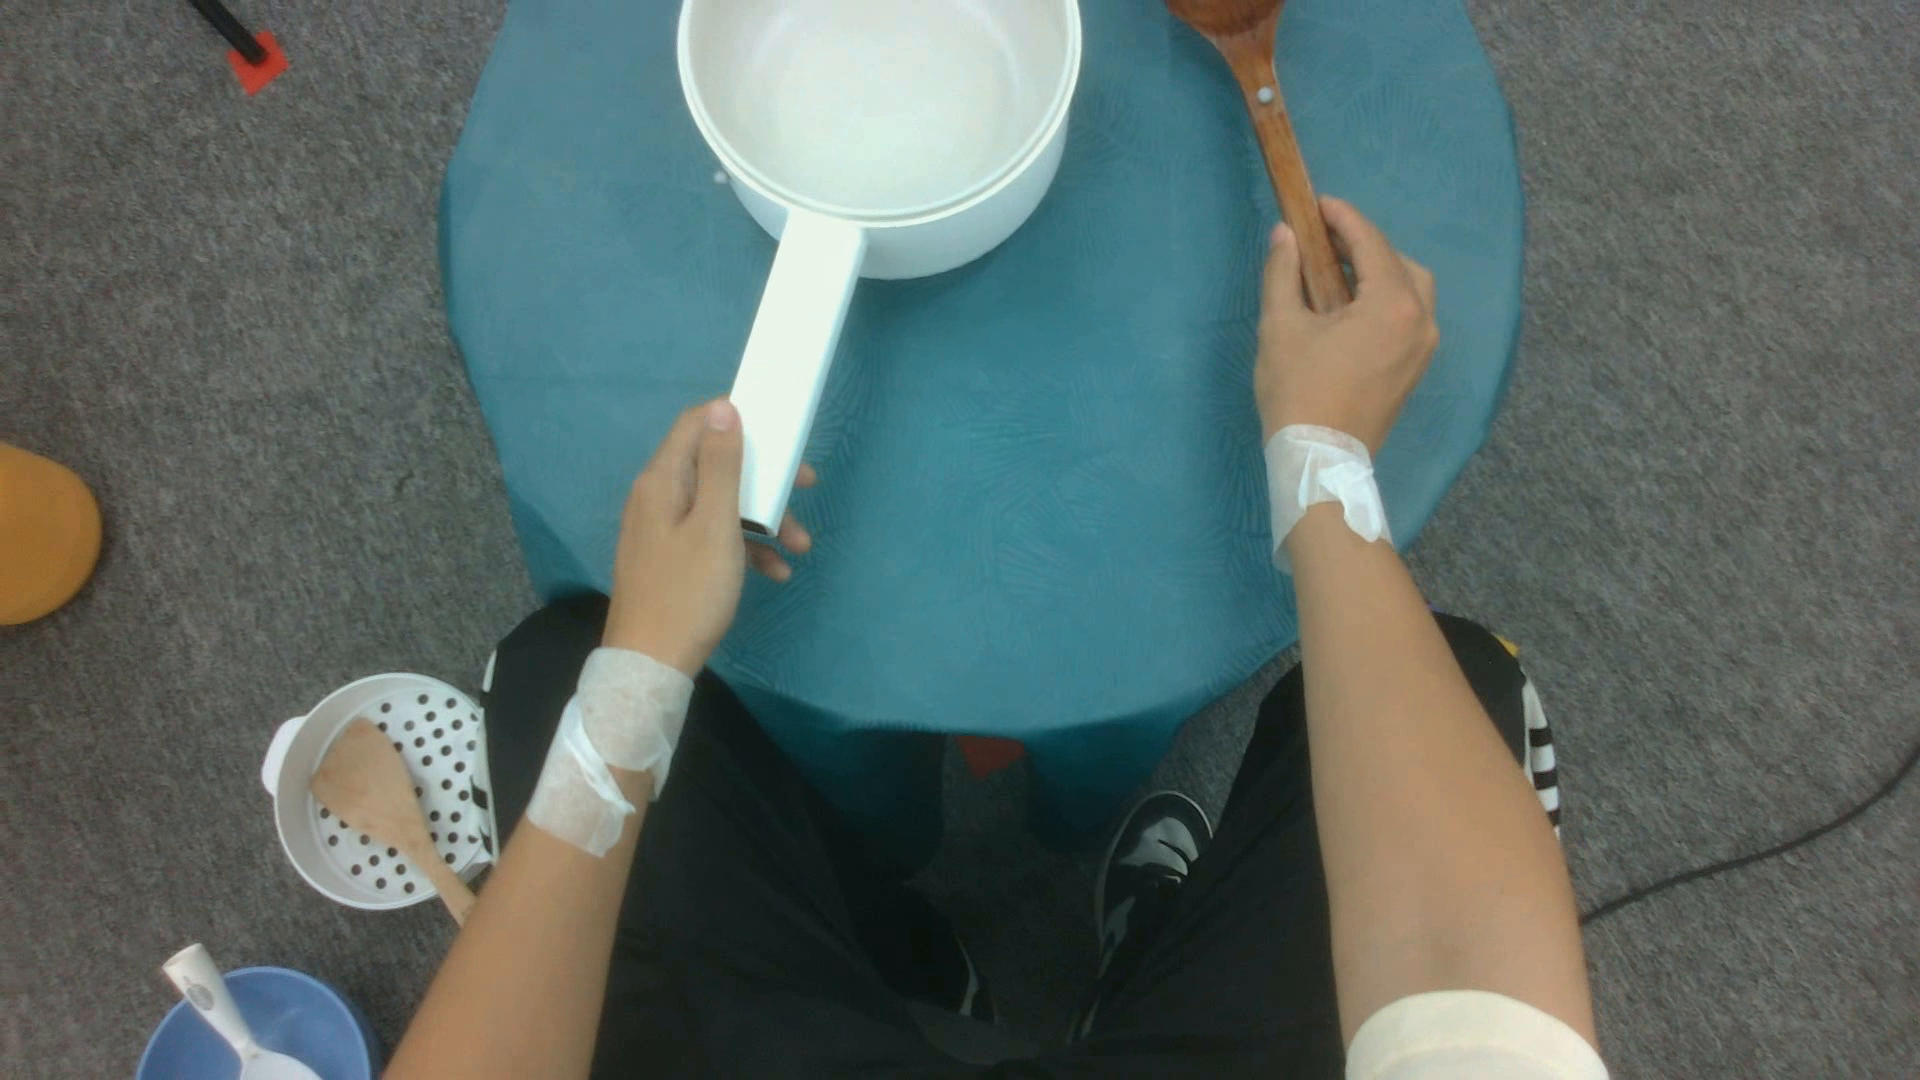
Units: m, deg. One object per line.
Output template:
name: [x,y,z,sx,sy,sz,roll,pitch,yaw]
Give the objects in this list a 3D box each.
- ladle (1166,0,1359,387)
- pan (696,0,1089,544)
ladle: [0.168,-0.217,0.723,0.082,0.076,0.275,-15,67,17]
pan: [-0.054,-0.163,0.733,0.201,0.102,0.355,16,78,6]
